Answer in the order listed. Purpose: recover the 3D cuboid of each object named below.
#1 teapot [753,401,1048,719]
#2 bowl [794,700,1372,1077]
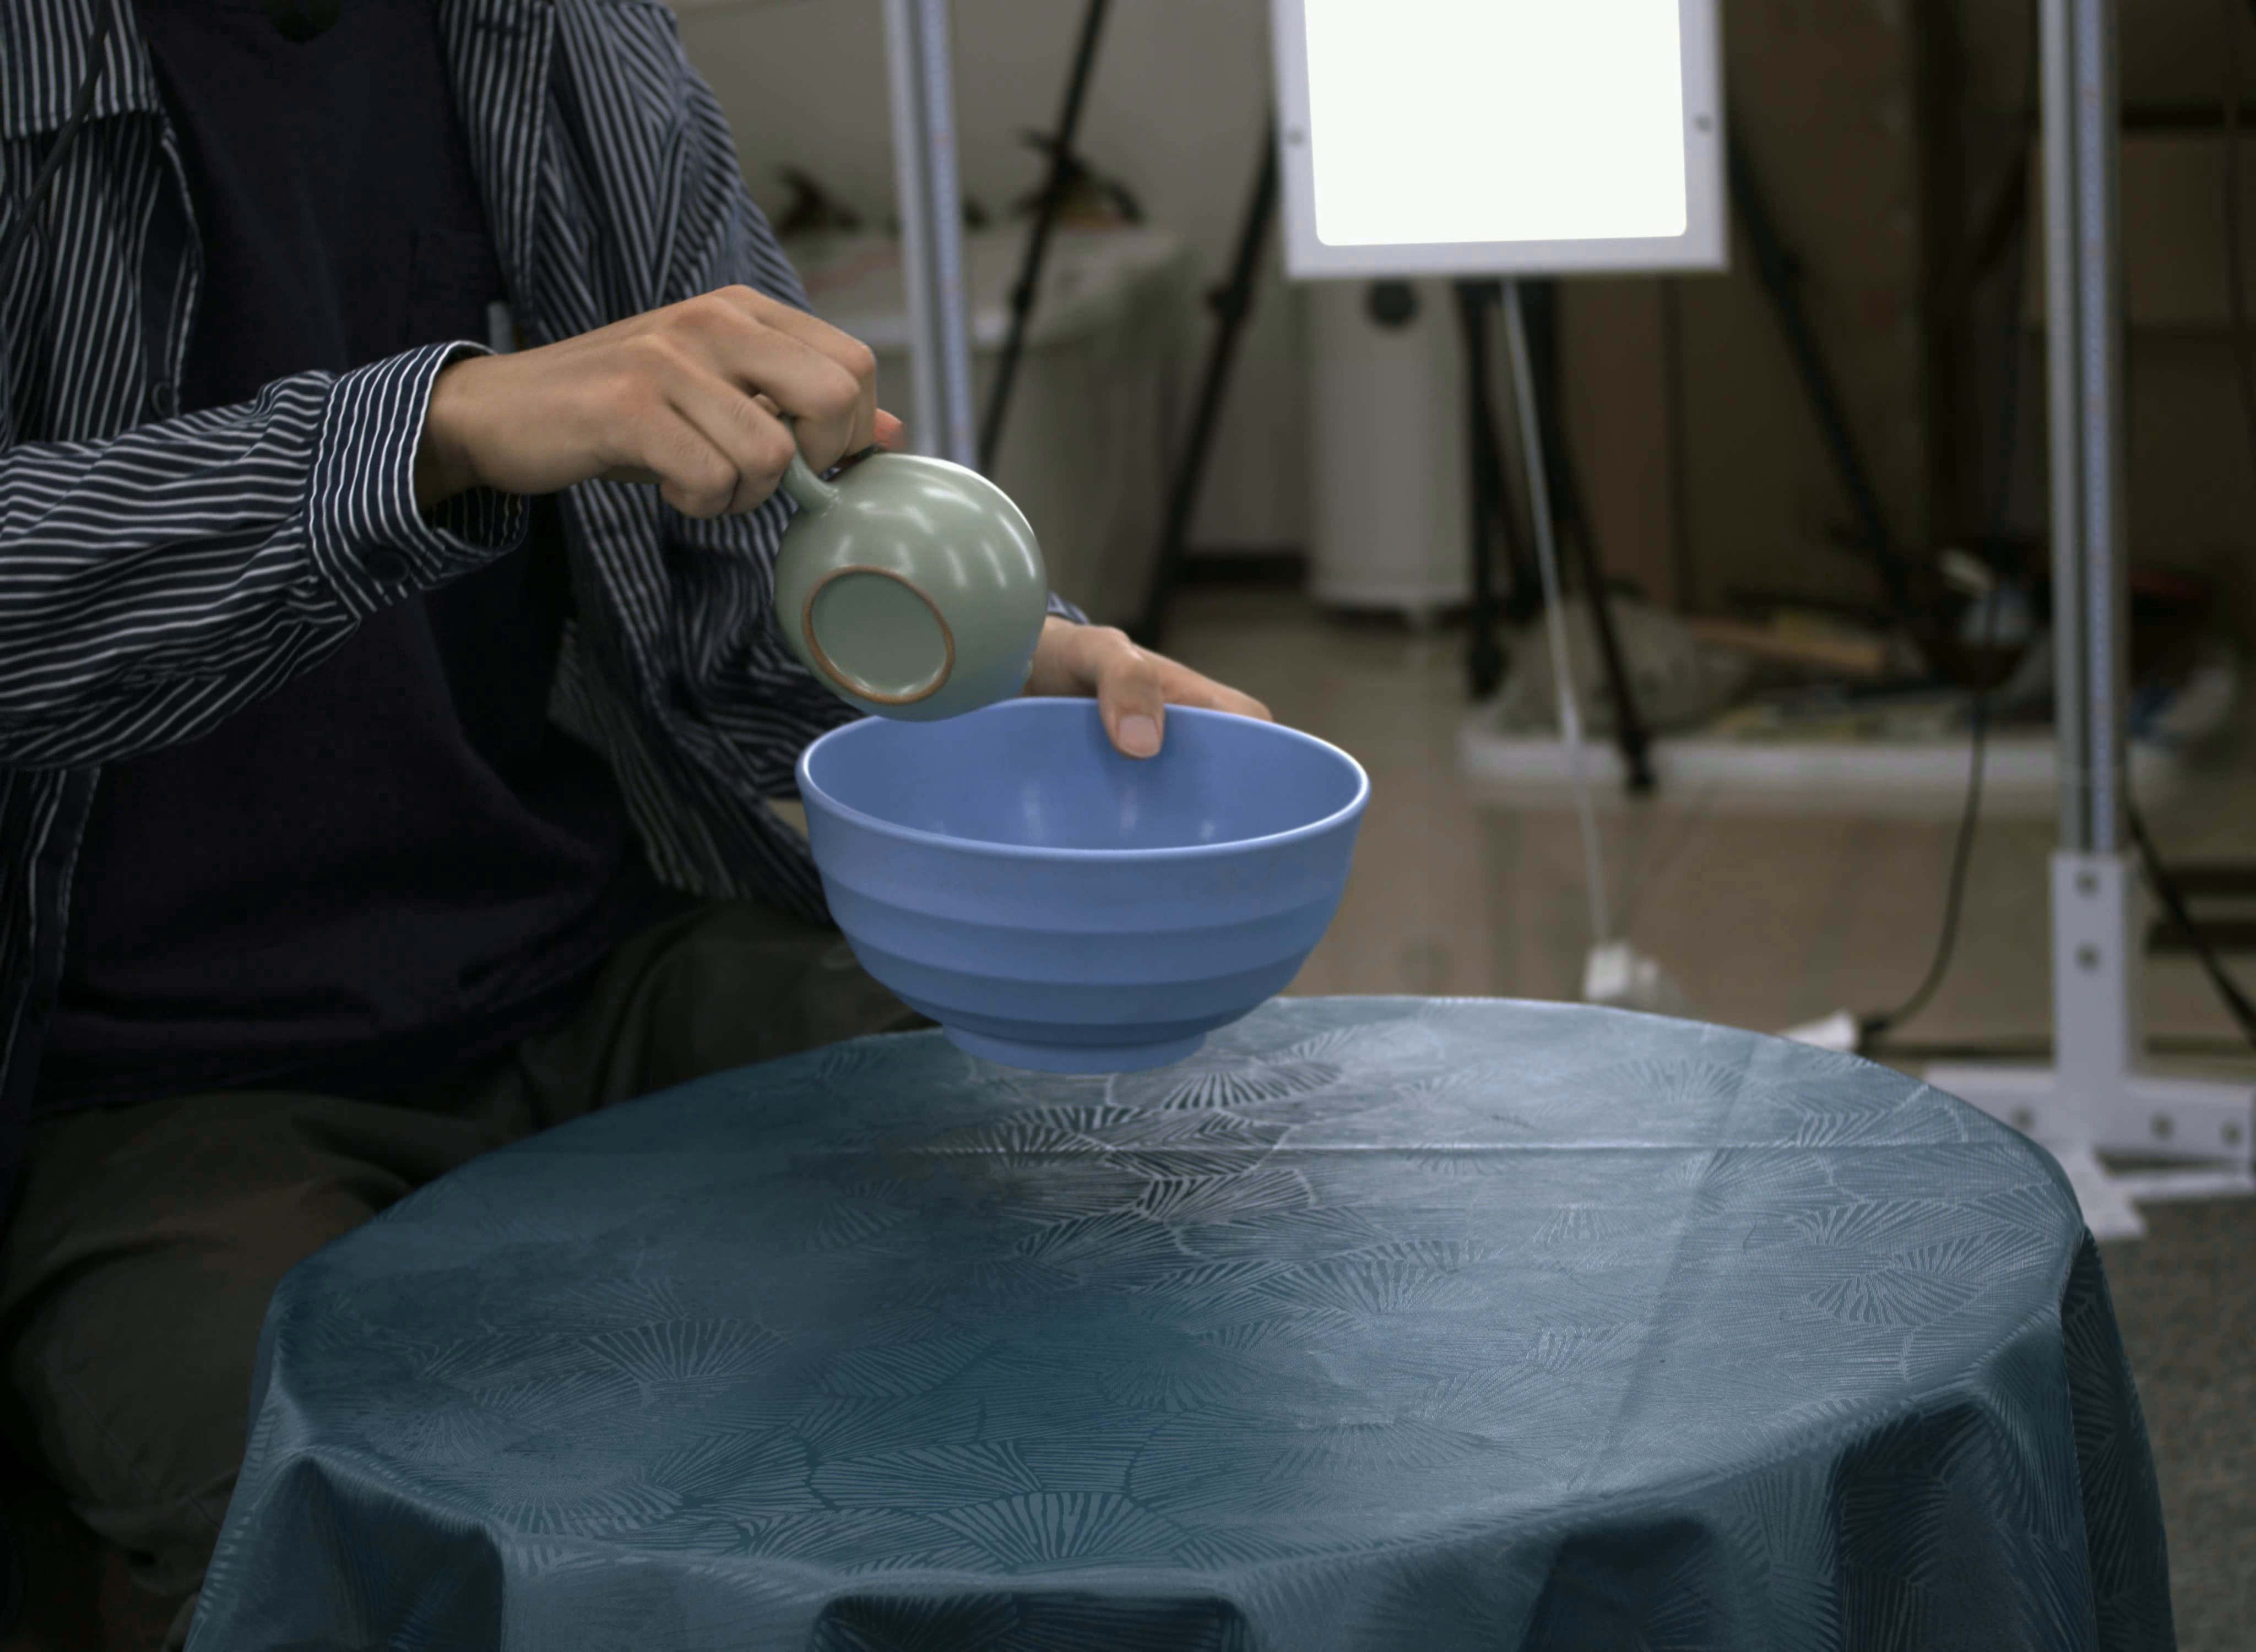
[{"bbox_3d":[-0.077,-0.086,1.798,0.093,0.128,0.060,-27,20,39],"label":"teapot"},{"bbox_3d":[-0.016,0.026,1.875,0.196,0.096,0.196,1,16,-2],"label":"bowl"}]
